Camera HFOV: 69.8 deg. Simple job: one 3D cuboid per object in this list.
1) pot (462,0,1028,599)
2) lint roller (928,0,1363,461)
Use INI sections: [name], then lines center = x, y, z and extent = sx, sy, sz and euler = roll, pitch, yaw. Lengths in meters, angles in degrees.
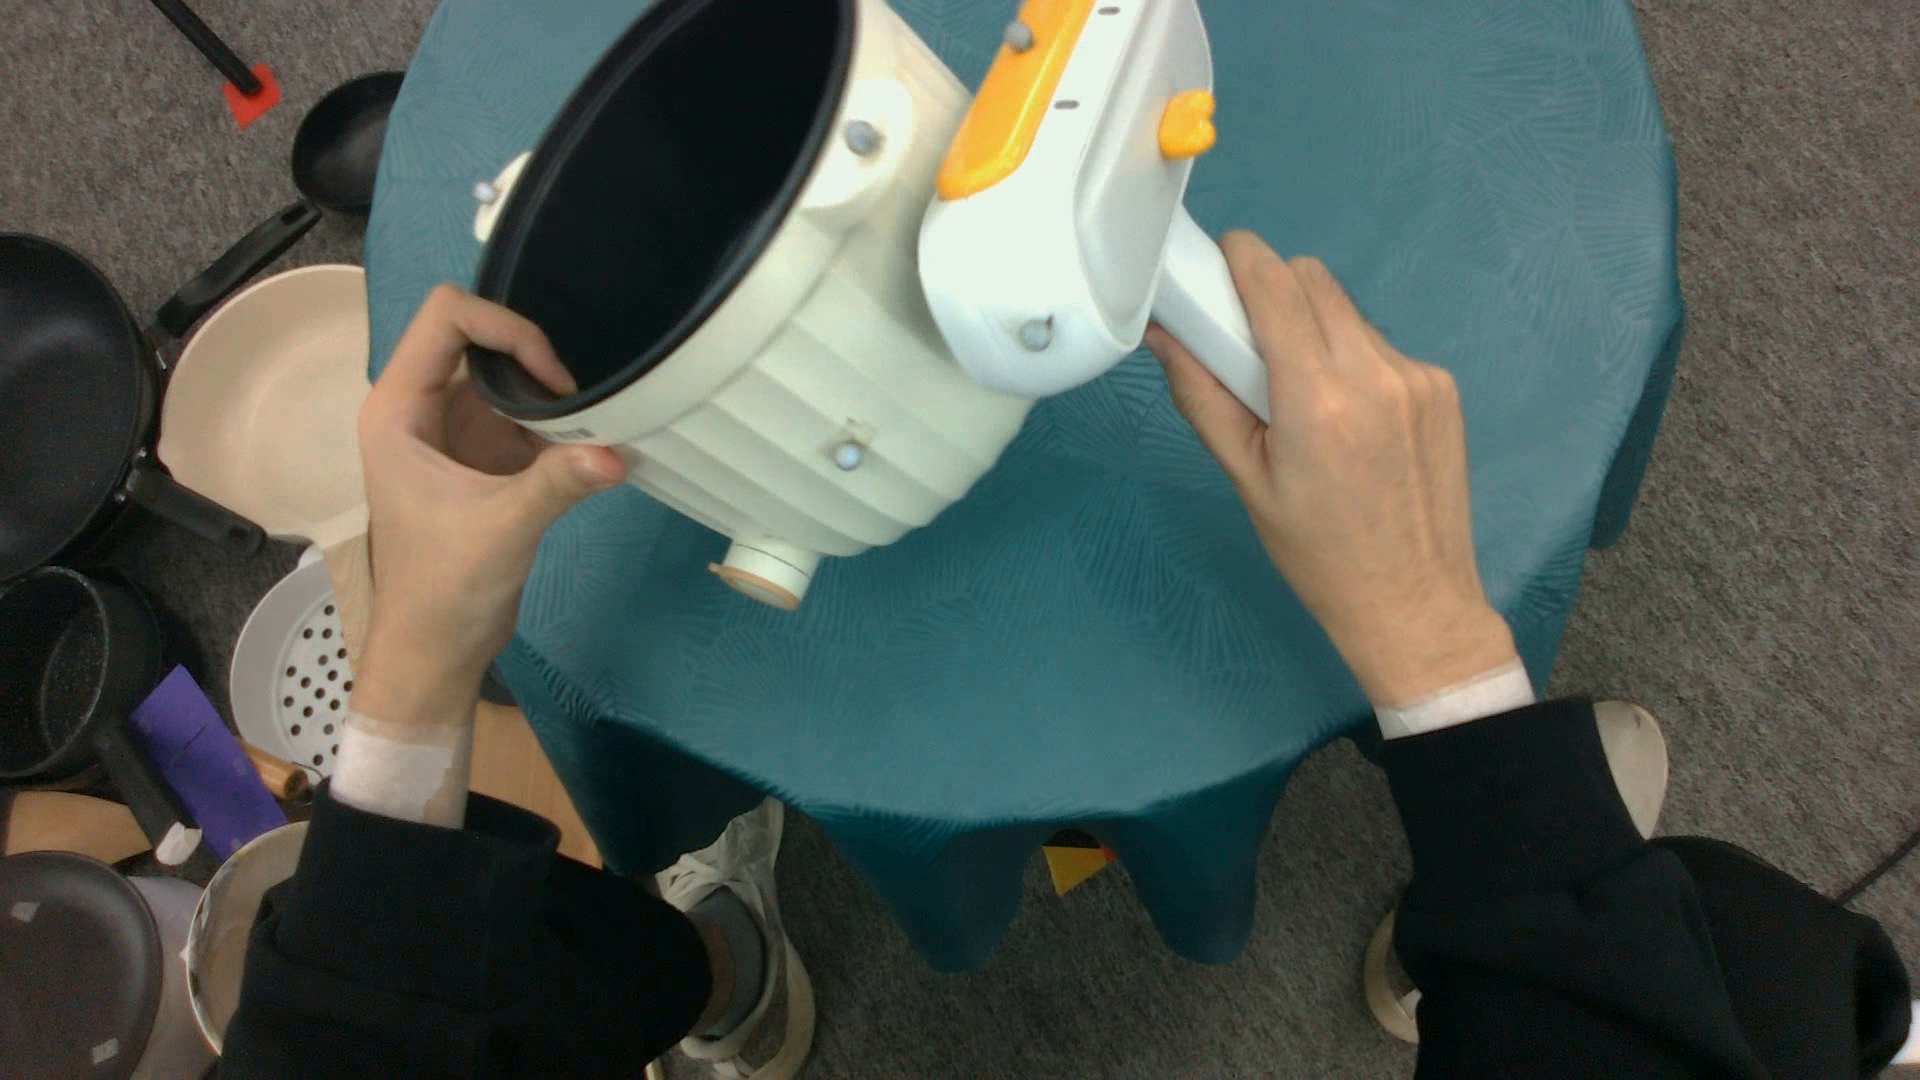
[pot]
center = -0.061, -0.088, 0.482
extent = 0.240, 0.142, 0.191
euler = 7, 66, 45
[lint roller]
center = 0.071, -0.090, 0.455
extent = 0.074, 0.192, 0.194
euler = -20, 40, 28
